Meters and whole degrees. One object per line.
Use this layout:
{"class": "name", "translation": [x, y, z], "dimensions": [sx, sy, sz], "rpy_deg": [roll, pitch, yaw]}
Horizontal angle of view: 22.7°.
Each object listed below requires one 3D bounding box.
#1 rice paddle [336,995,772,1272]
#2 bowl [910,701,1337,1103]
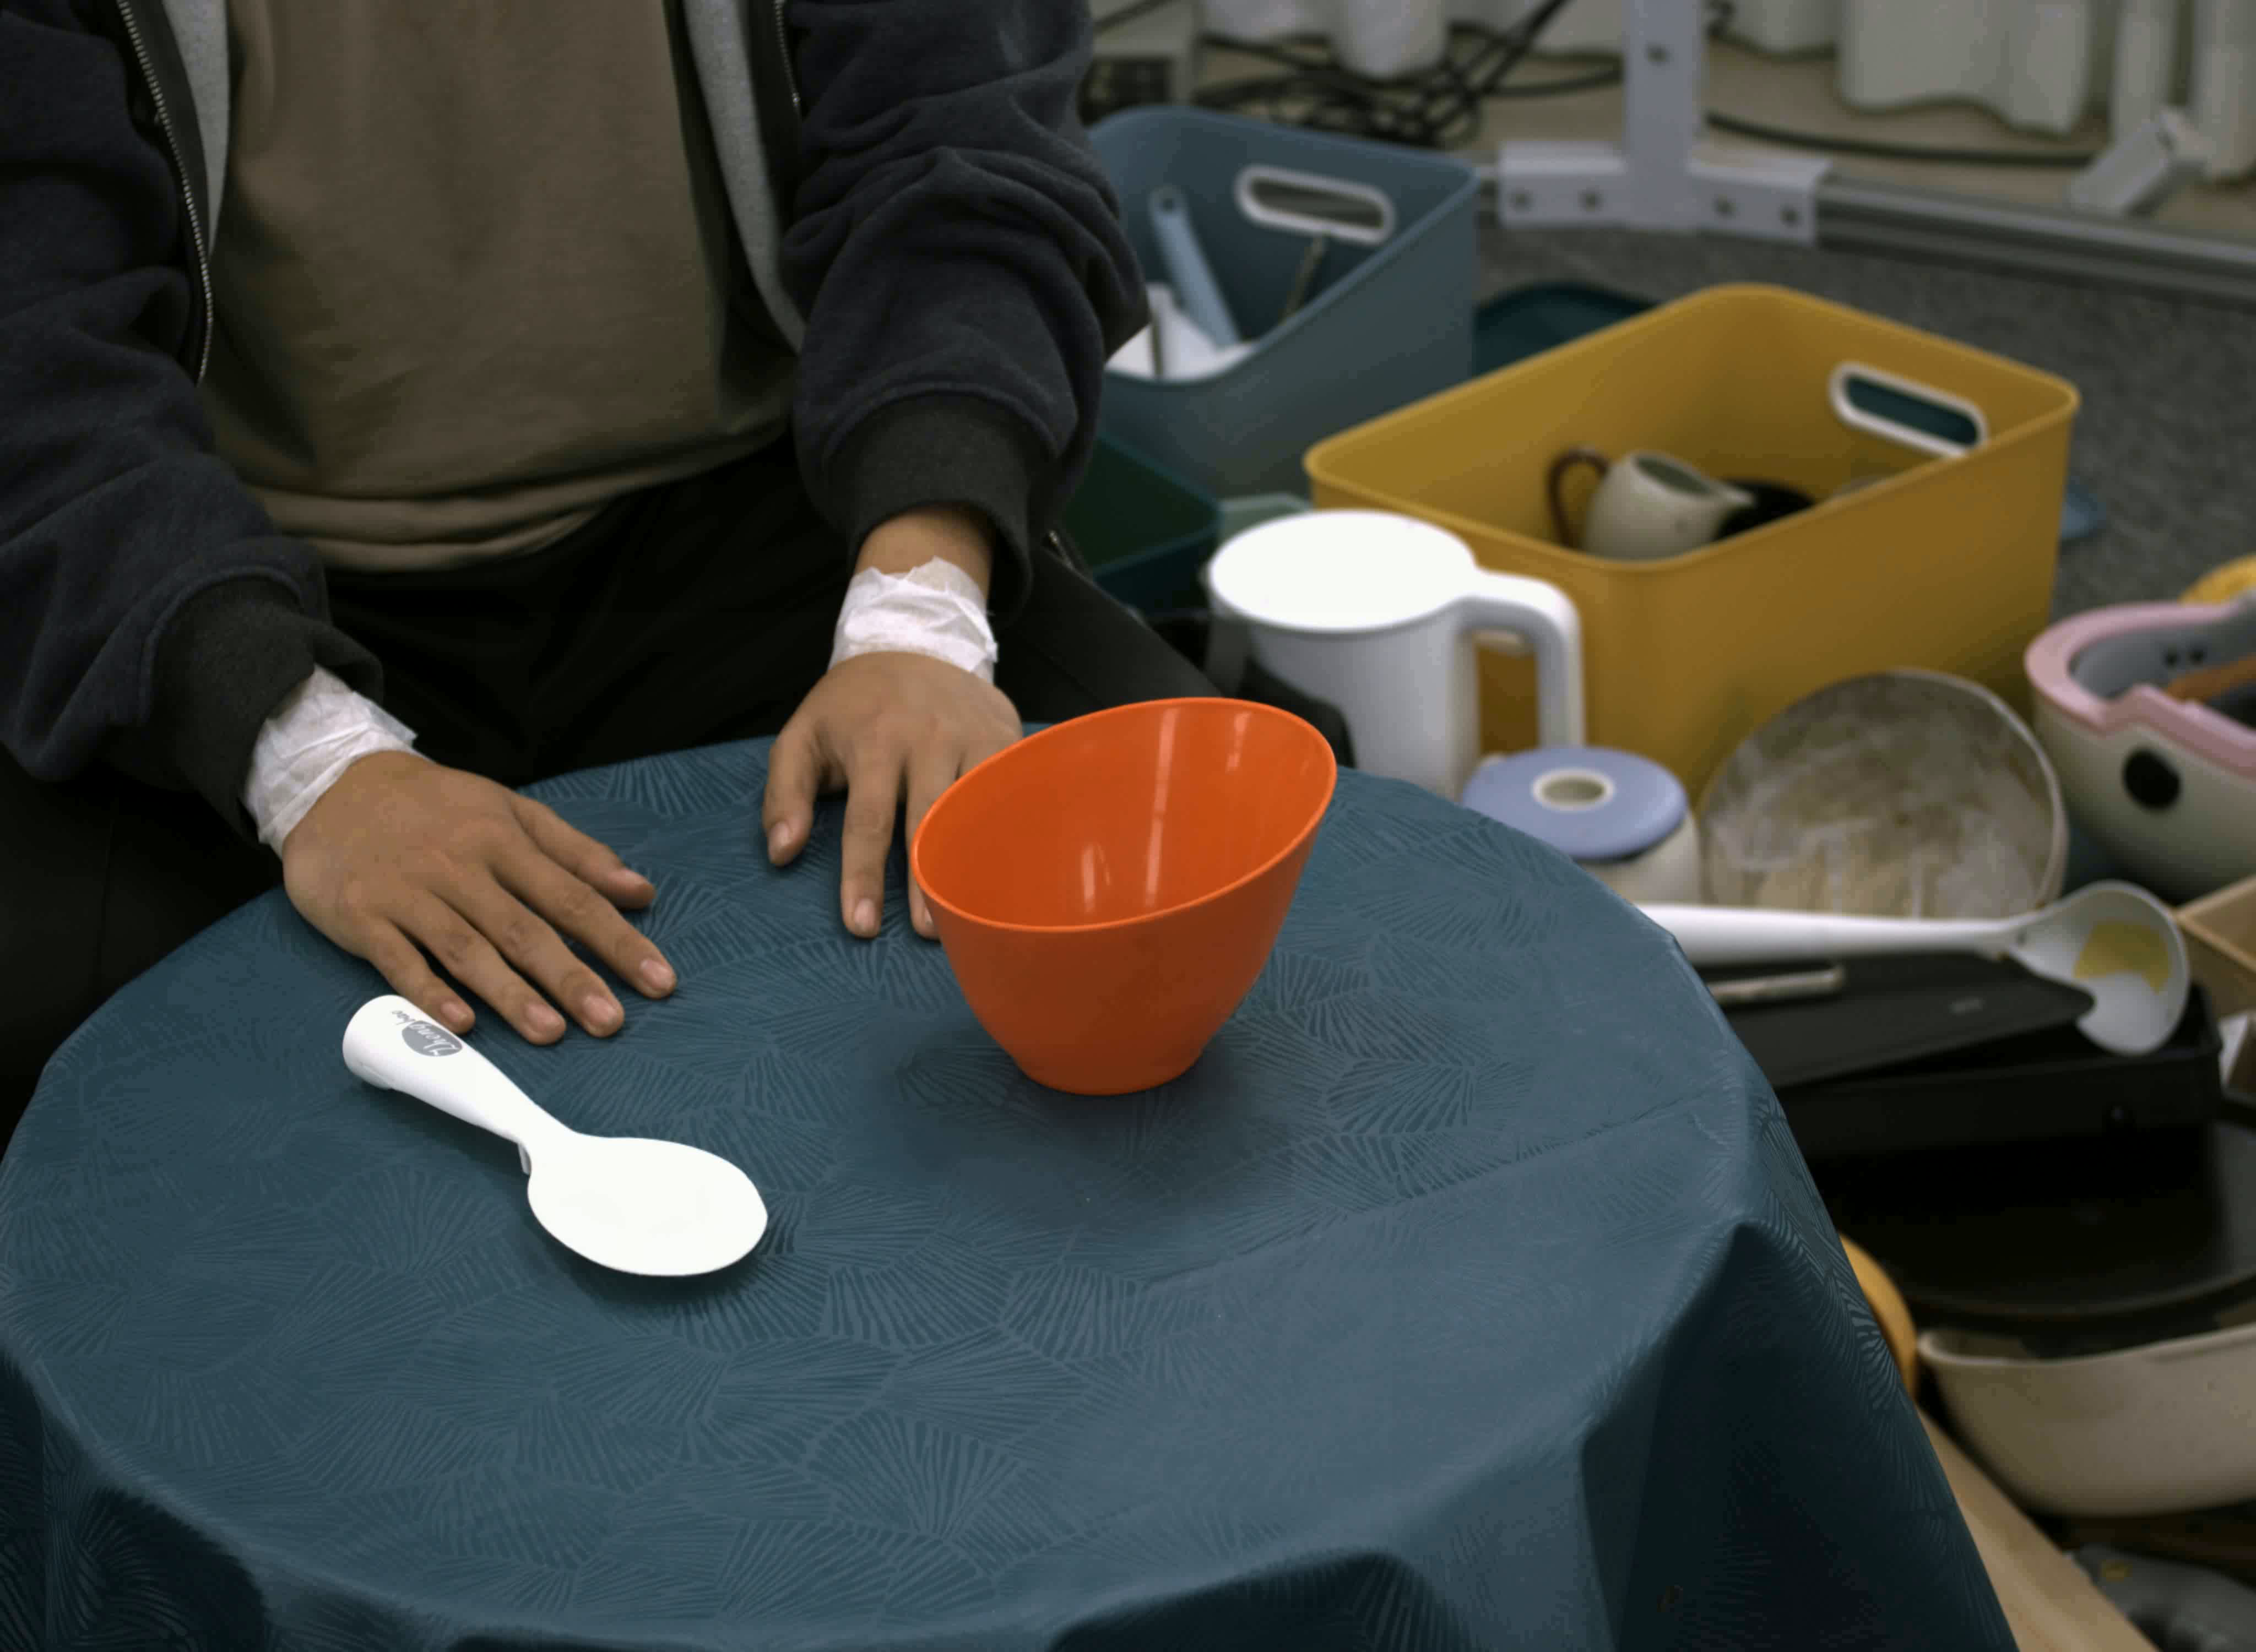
{"class": "rice paddle", "translation": [-0.194, 0.105, 1.882], "dimensions": [0.069, 0.029, 0.205], "rpy_deg": [-26, 35, -35]}
{"class": "bowl", "translation": [0.001, 0.032, 1.927], "dimensions": [0.147, 0.103, 0.150], "rpy_deg": [-3, 28, 2]}
